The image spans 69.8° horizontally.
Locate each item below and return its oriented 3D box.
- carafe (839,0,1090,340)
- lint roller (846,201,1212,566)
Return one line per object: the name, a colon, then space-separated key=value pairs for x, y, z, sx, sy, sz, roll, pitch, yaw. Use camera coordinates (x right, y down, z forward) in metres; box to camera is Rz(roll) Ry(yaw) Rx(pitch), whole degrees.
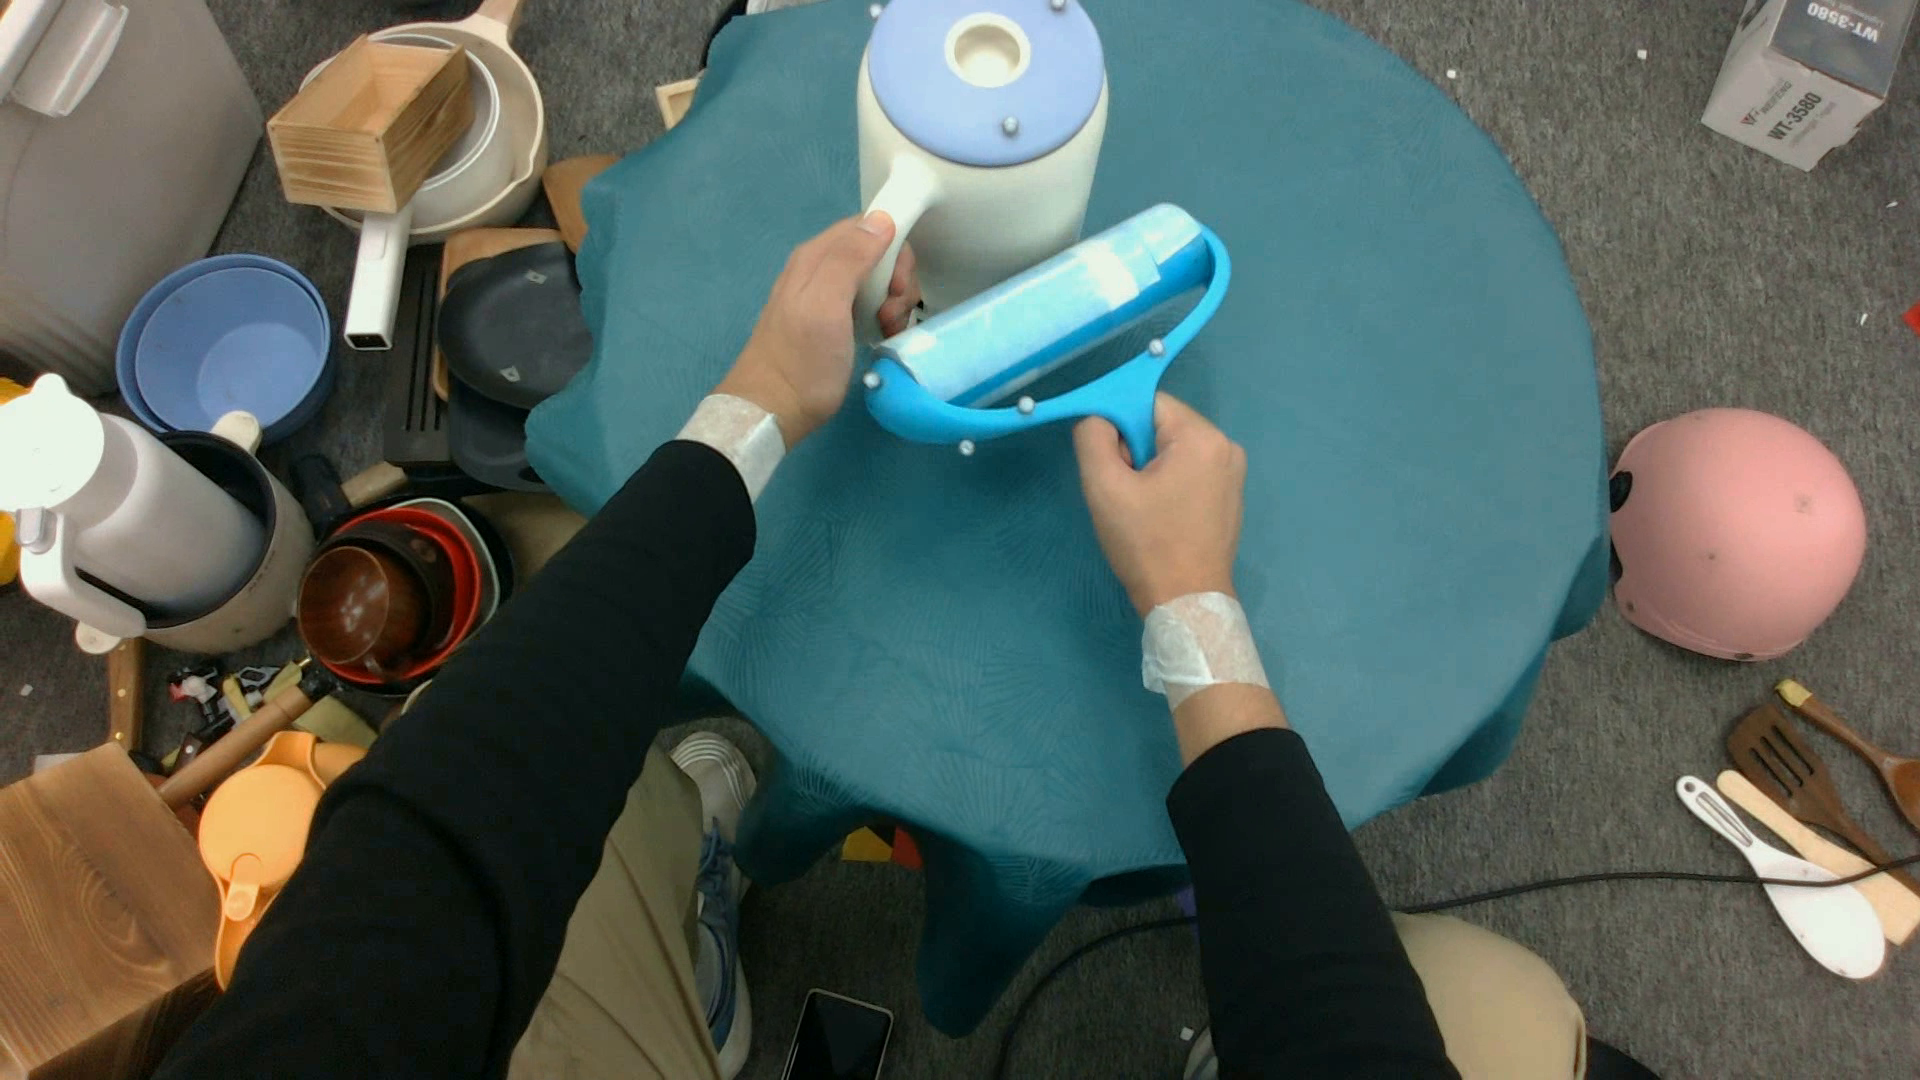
carafe: x=-0.013 y=-0.197 z=0.757 sx=0.132 sy=0.182 sz=0.191 roll=30 pitch=74 yaw=8
lint roller: x=0.070 y=-0.073 z=0.730 sx=0.230 sy=0.067 sz=0.180 roll=-32 pitch=88 yaw=-28
